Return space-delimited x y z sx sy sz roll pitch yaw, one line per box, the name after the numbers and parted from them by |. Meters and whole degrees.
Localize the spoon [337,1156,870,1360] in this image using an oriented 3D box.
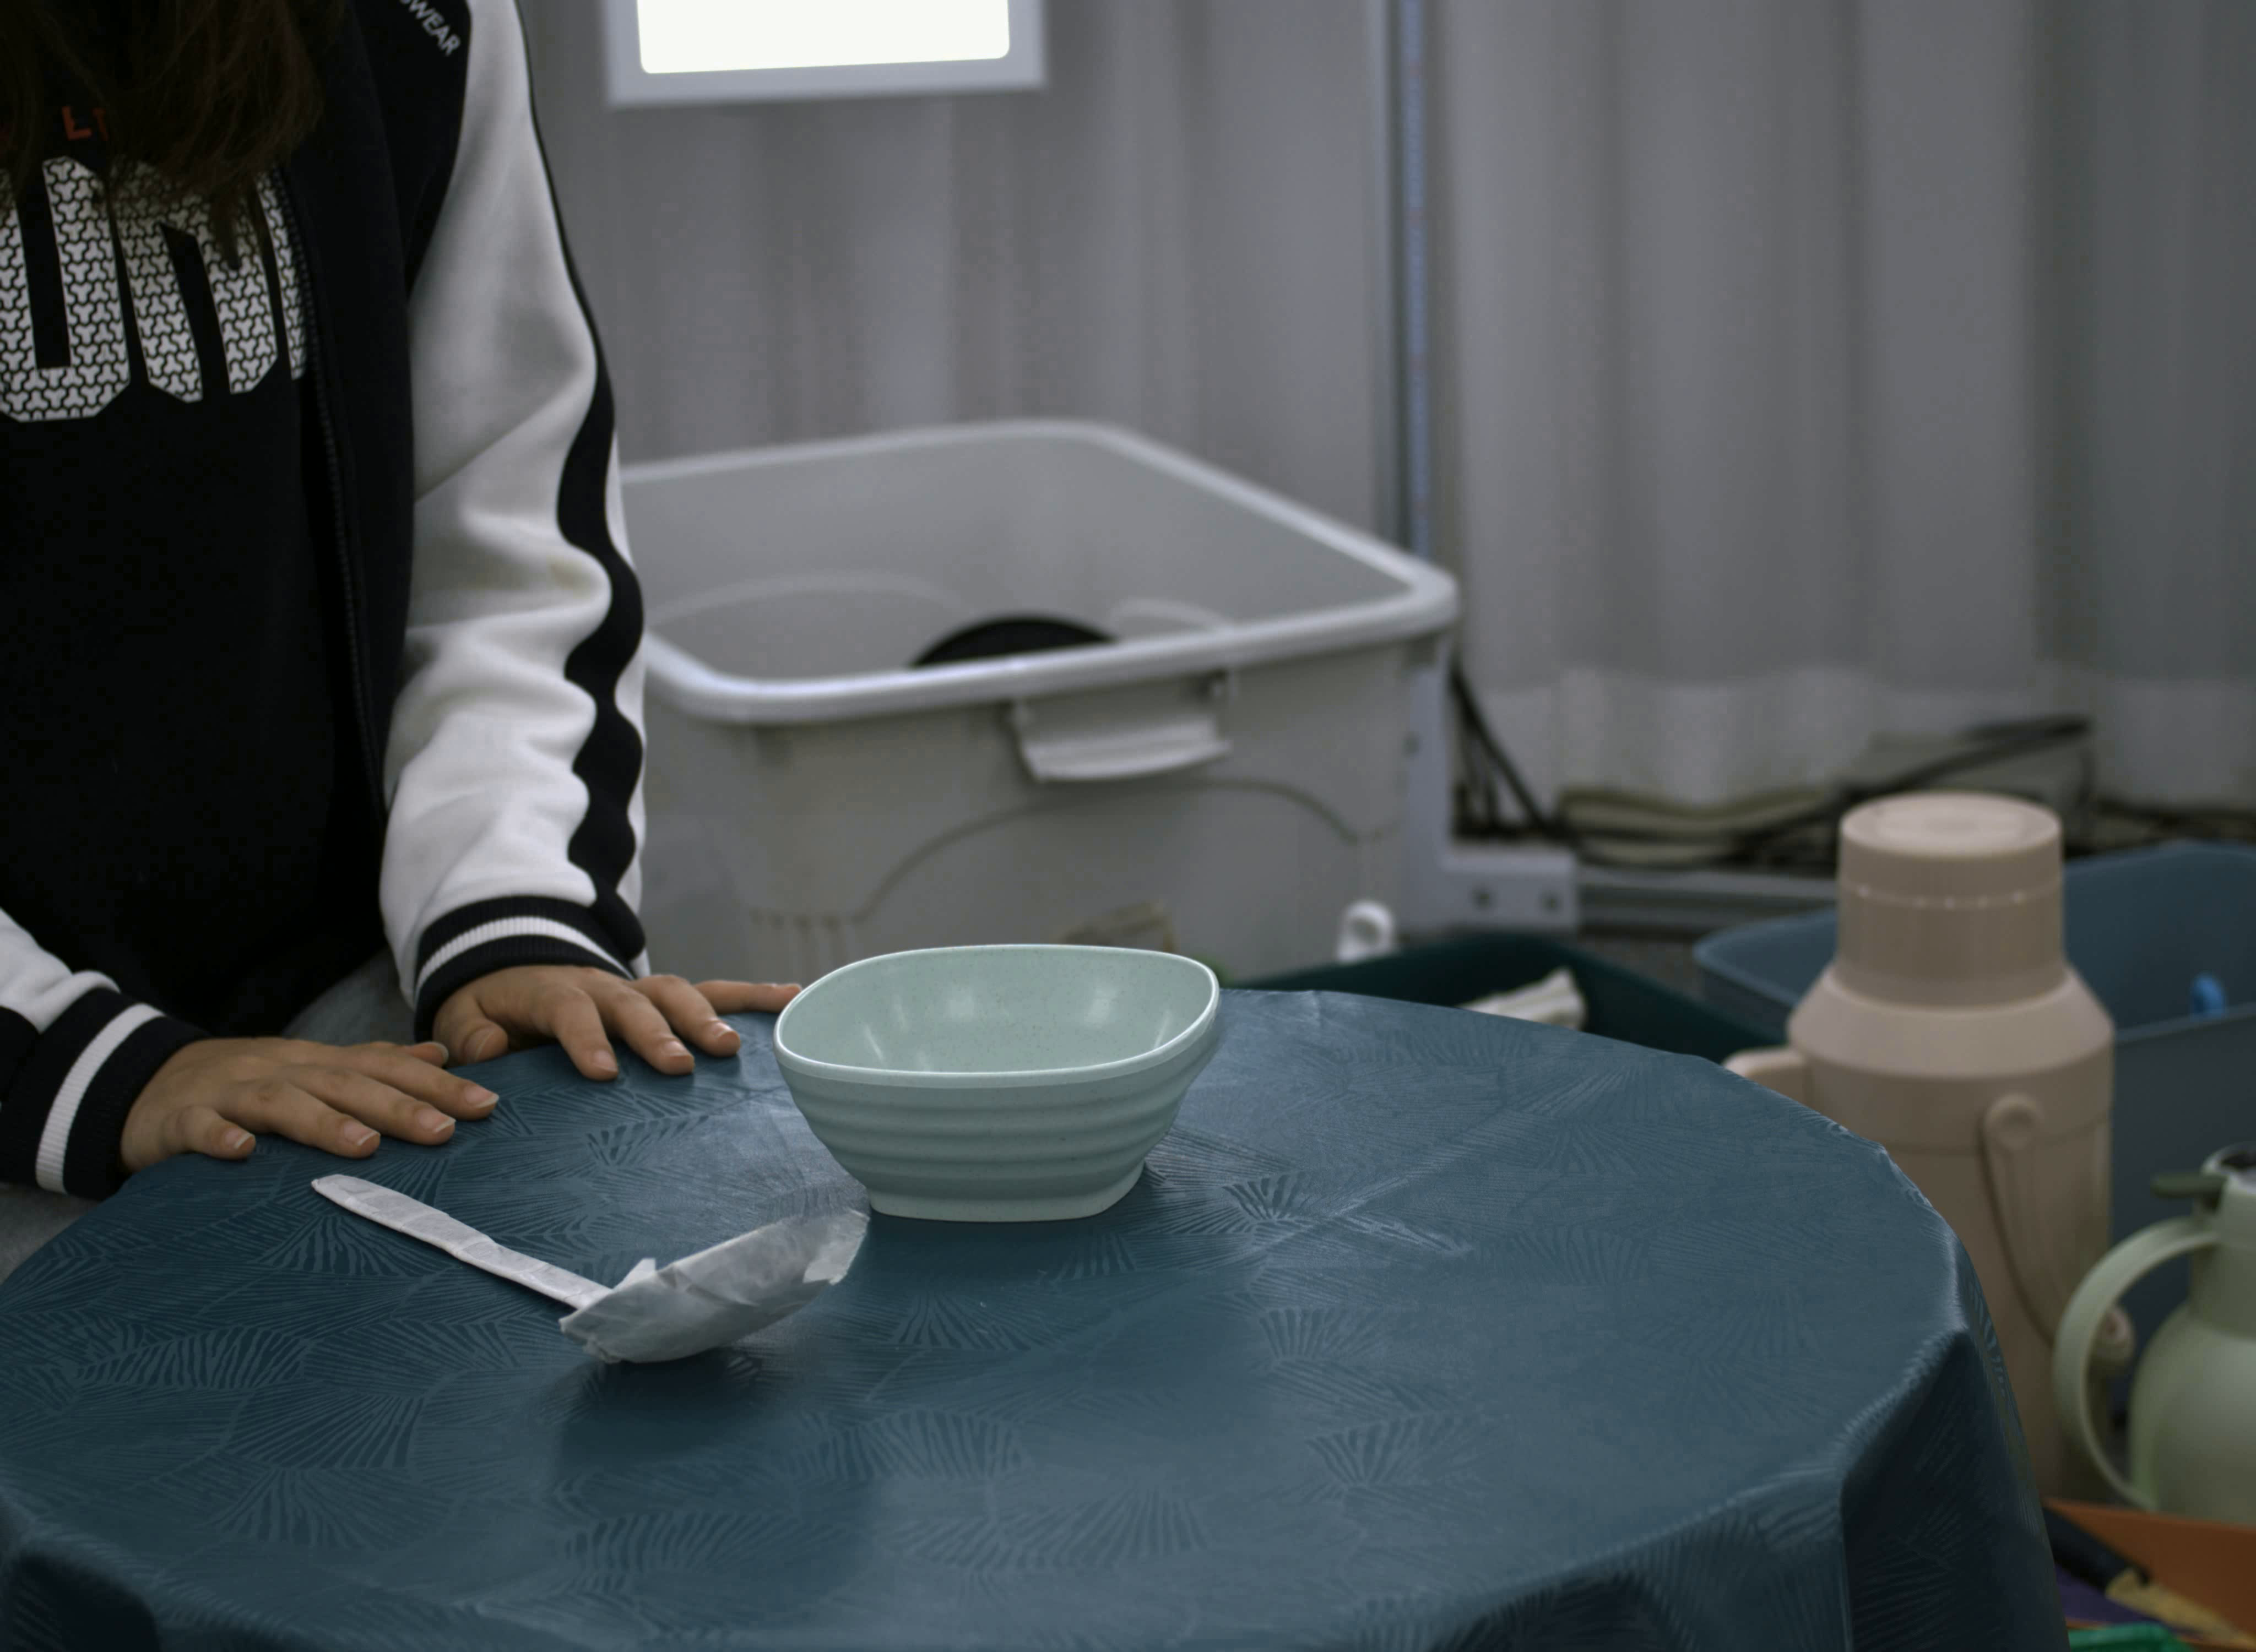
-0.170 0.111 1.653 0.100 0.059 0.279 -7 15 -33 | spoon

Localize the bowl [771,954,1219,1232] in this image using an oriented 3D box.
-0.040 0.087 1.726 0.151 0.058 0.152 -3 14 0 | bowl
